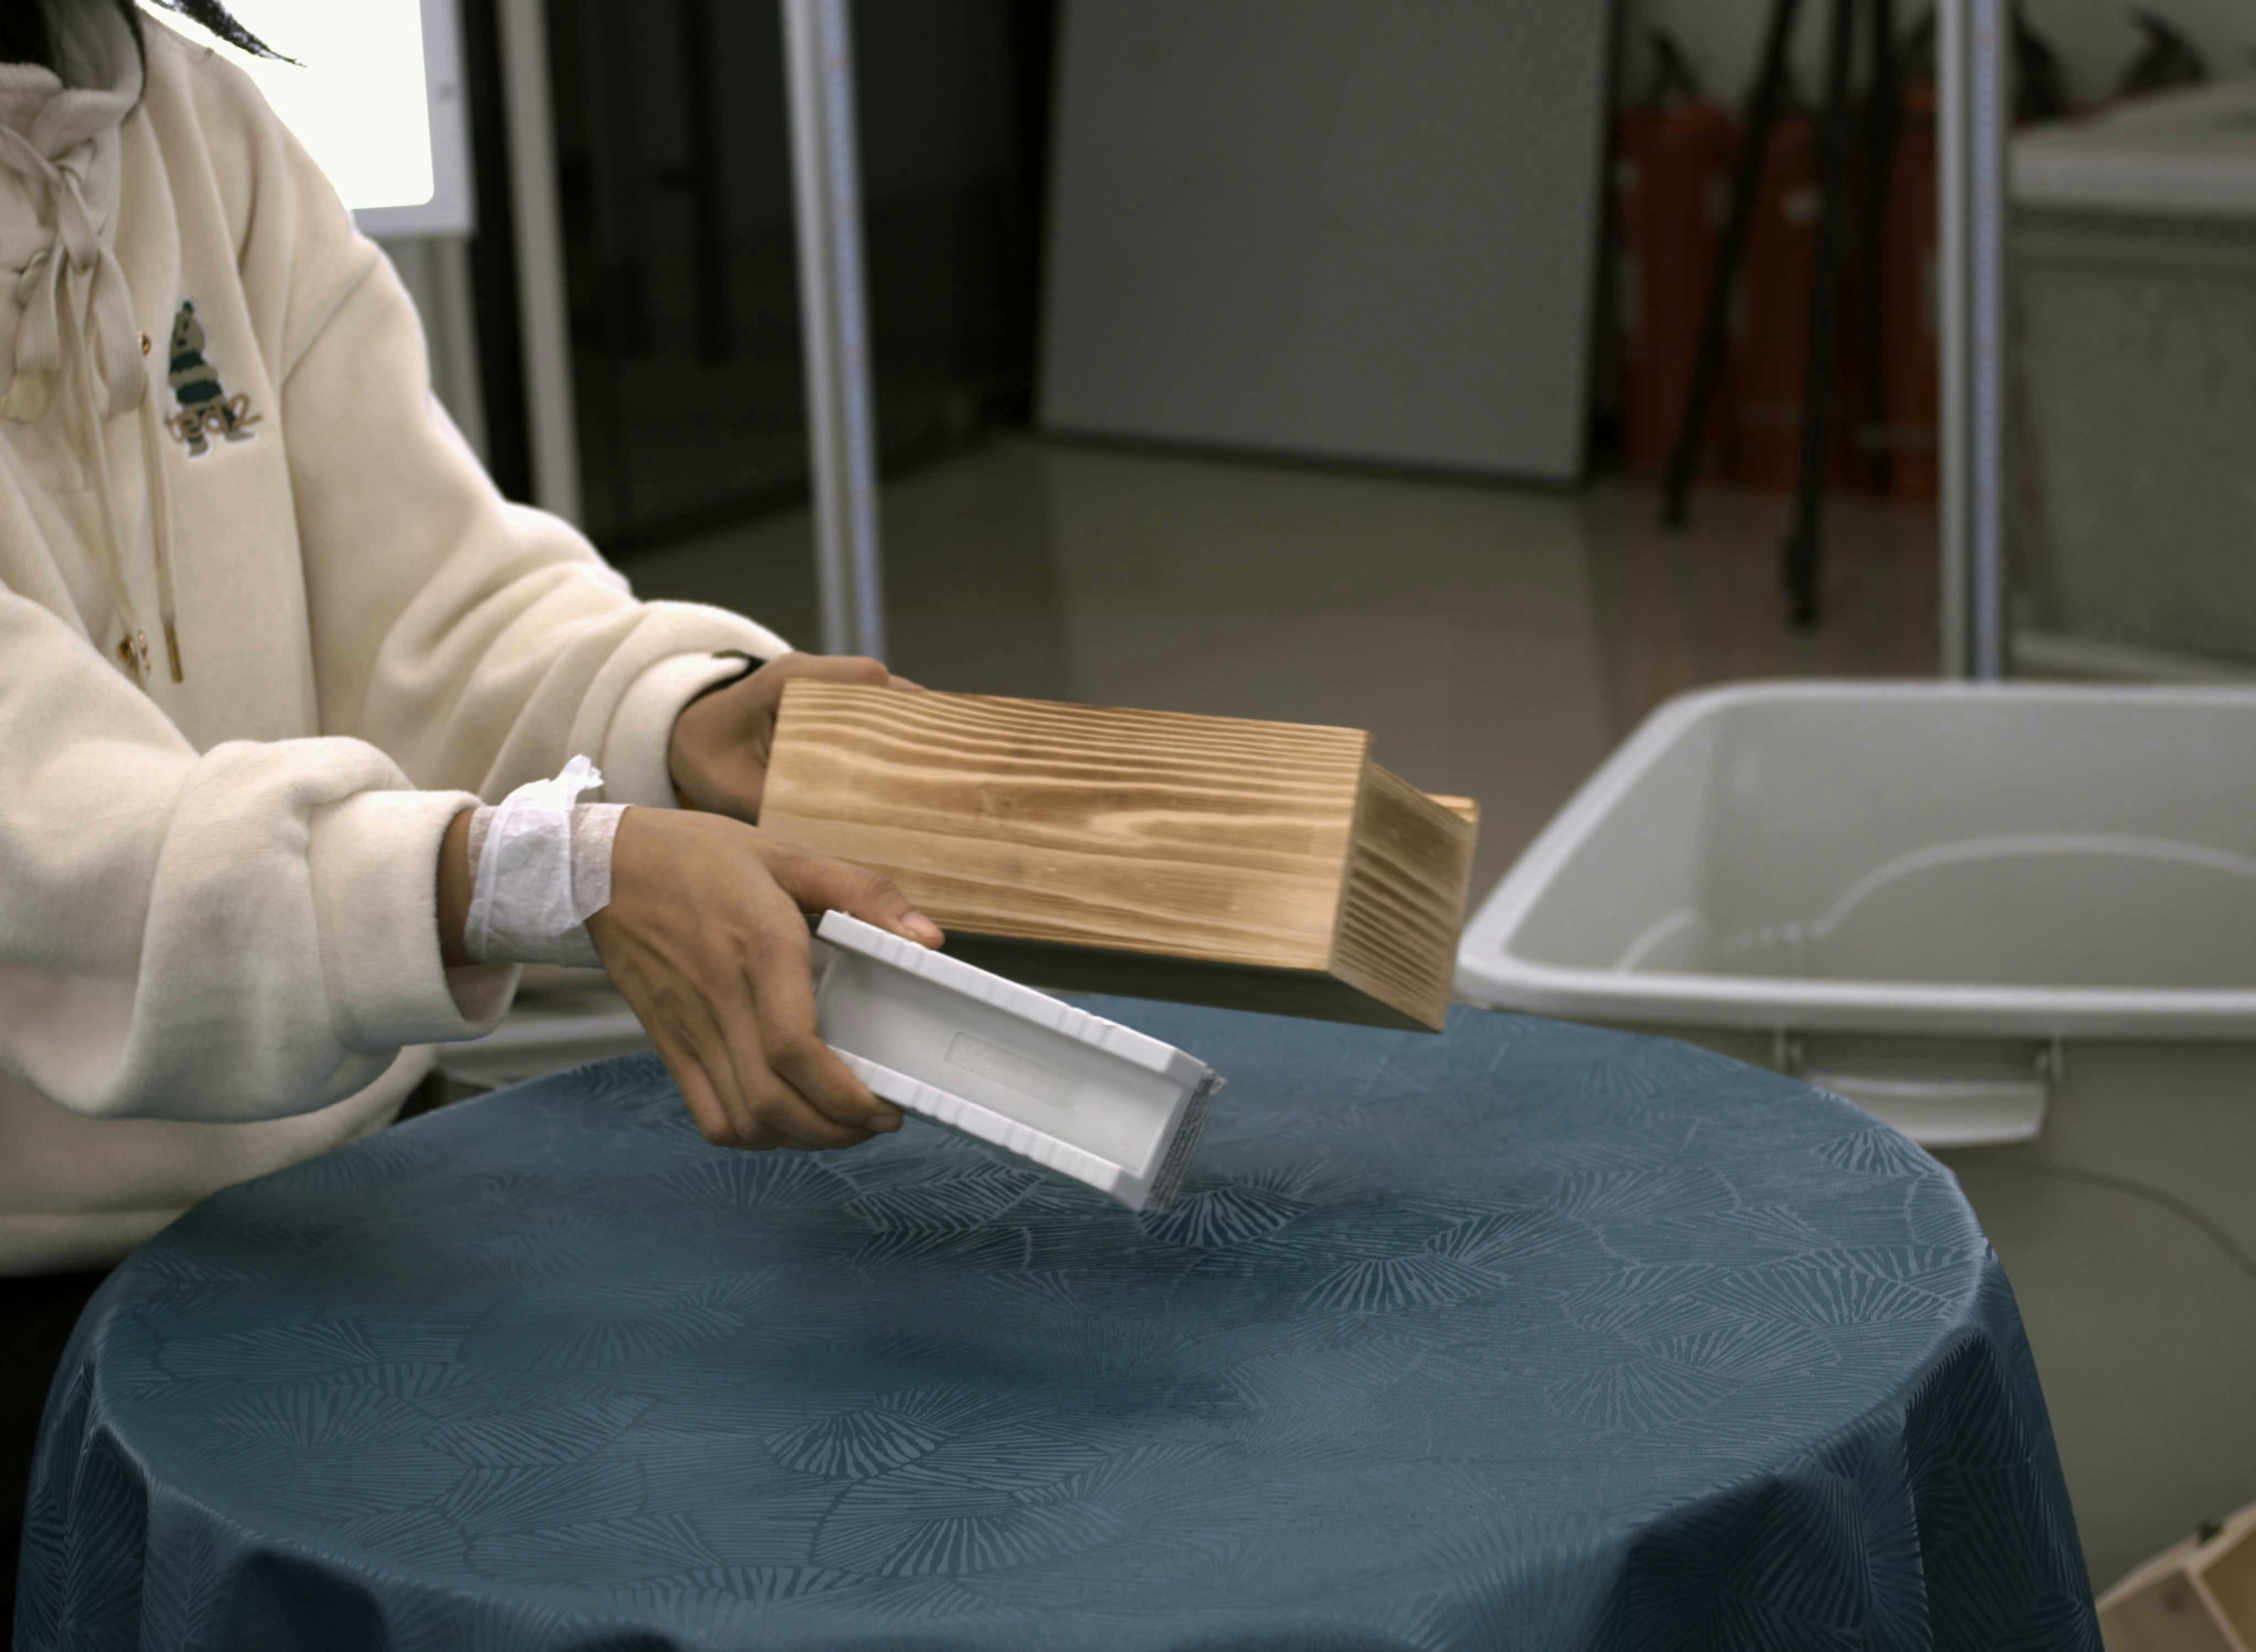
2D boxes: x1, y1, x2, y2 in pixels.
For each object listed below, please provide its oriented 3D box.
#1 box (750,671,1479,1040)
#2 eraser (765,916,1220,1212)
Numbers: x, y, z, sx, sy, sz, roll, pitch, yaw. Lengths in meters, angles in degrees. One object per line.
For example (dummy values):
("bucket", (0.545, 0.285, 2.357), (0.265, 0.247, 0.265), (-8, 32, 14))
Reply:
("box", (-0.004, 0.010, 1.767), (0.212, 0.081, 0.106), (6, -11, 26))
("eraser", (-0.040, 0.072, 1.640), (0.135, 0.050, 0.046), (17, -8, 30))
